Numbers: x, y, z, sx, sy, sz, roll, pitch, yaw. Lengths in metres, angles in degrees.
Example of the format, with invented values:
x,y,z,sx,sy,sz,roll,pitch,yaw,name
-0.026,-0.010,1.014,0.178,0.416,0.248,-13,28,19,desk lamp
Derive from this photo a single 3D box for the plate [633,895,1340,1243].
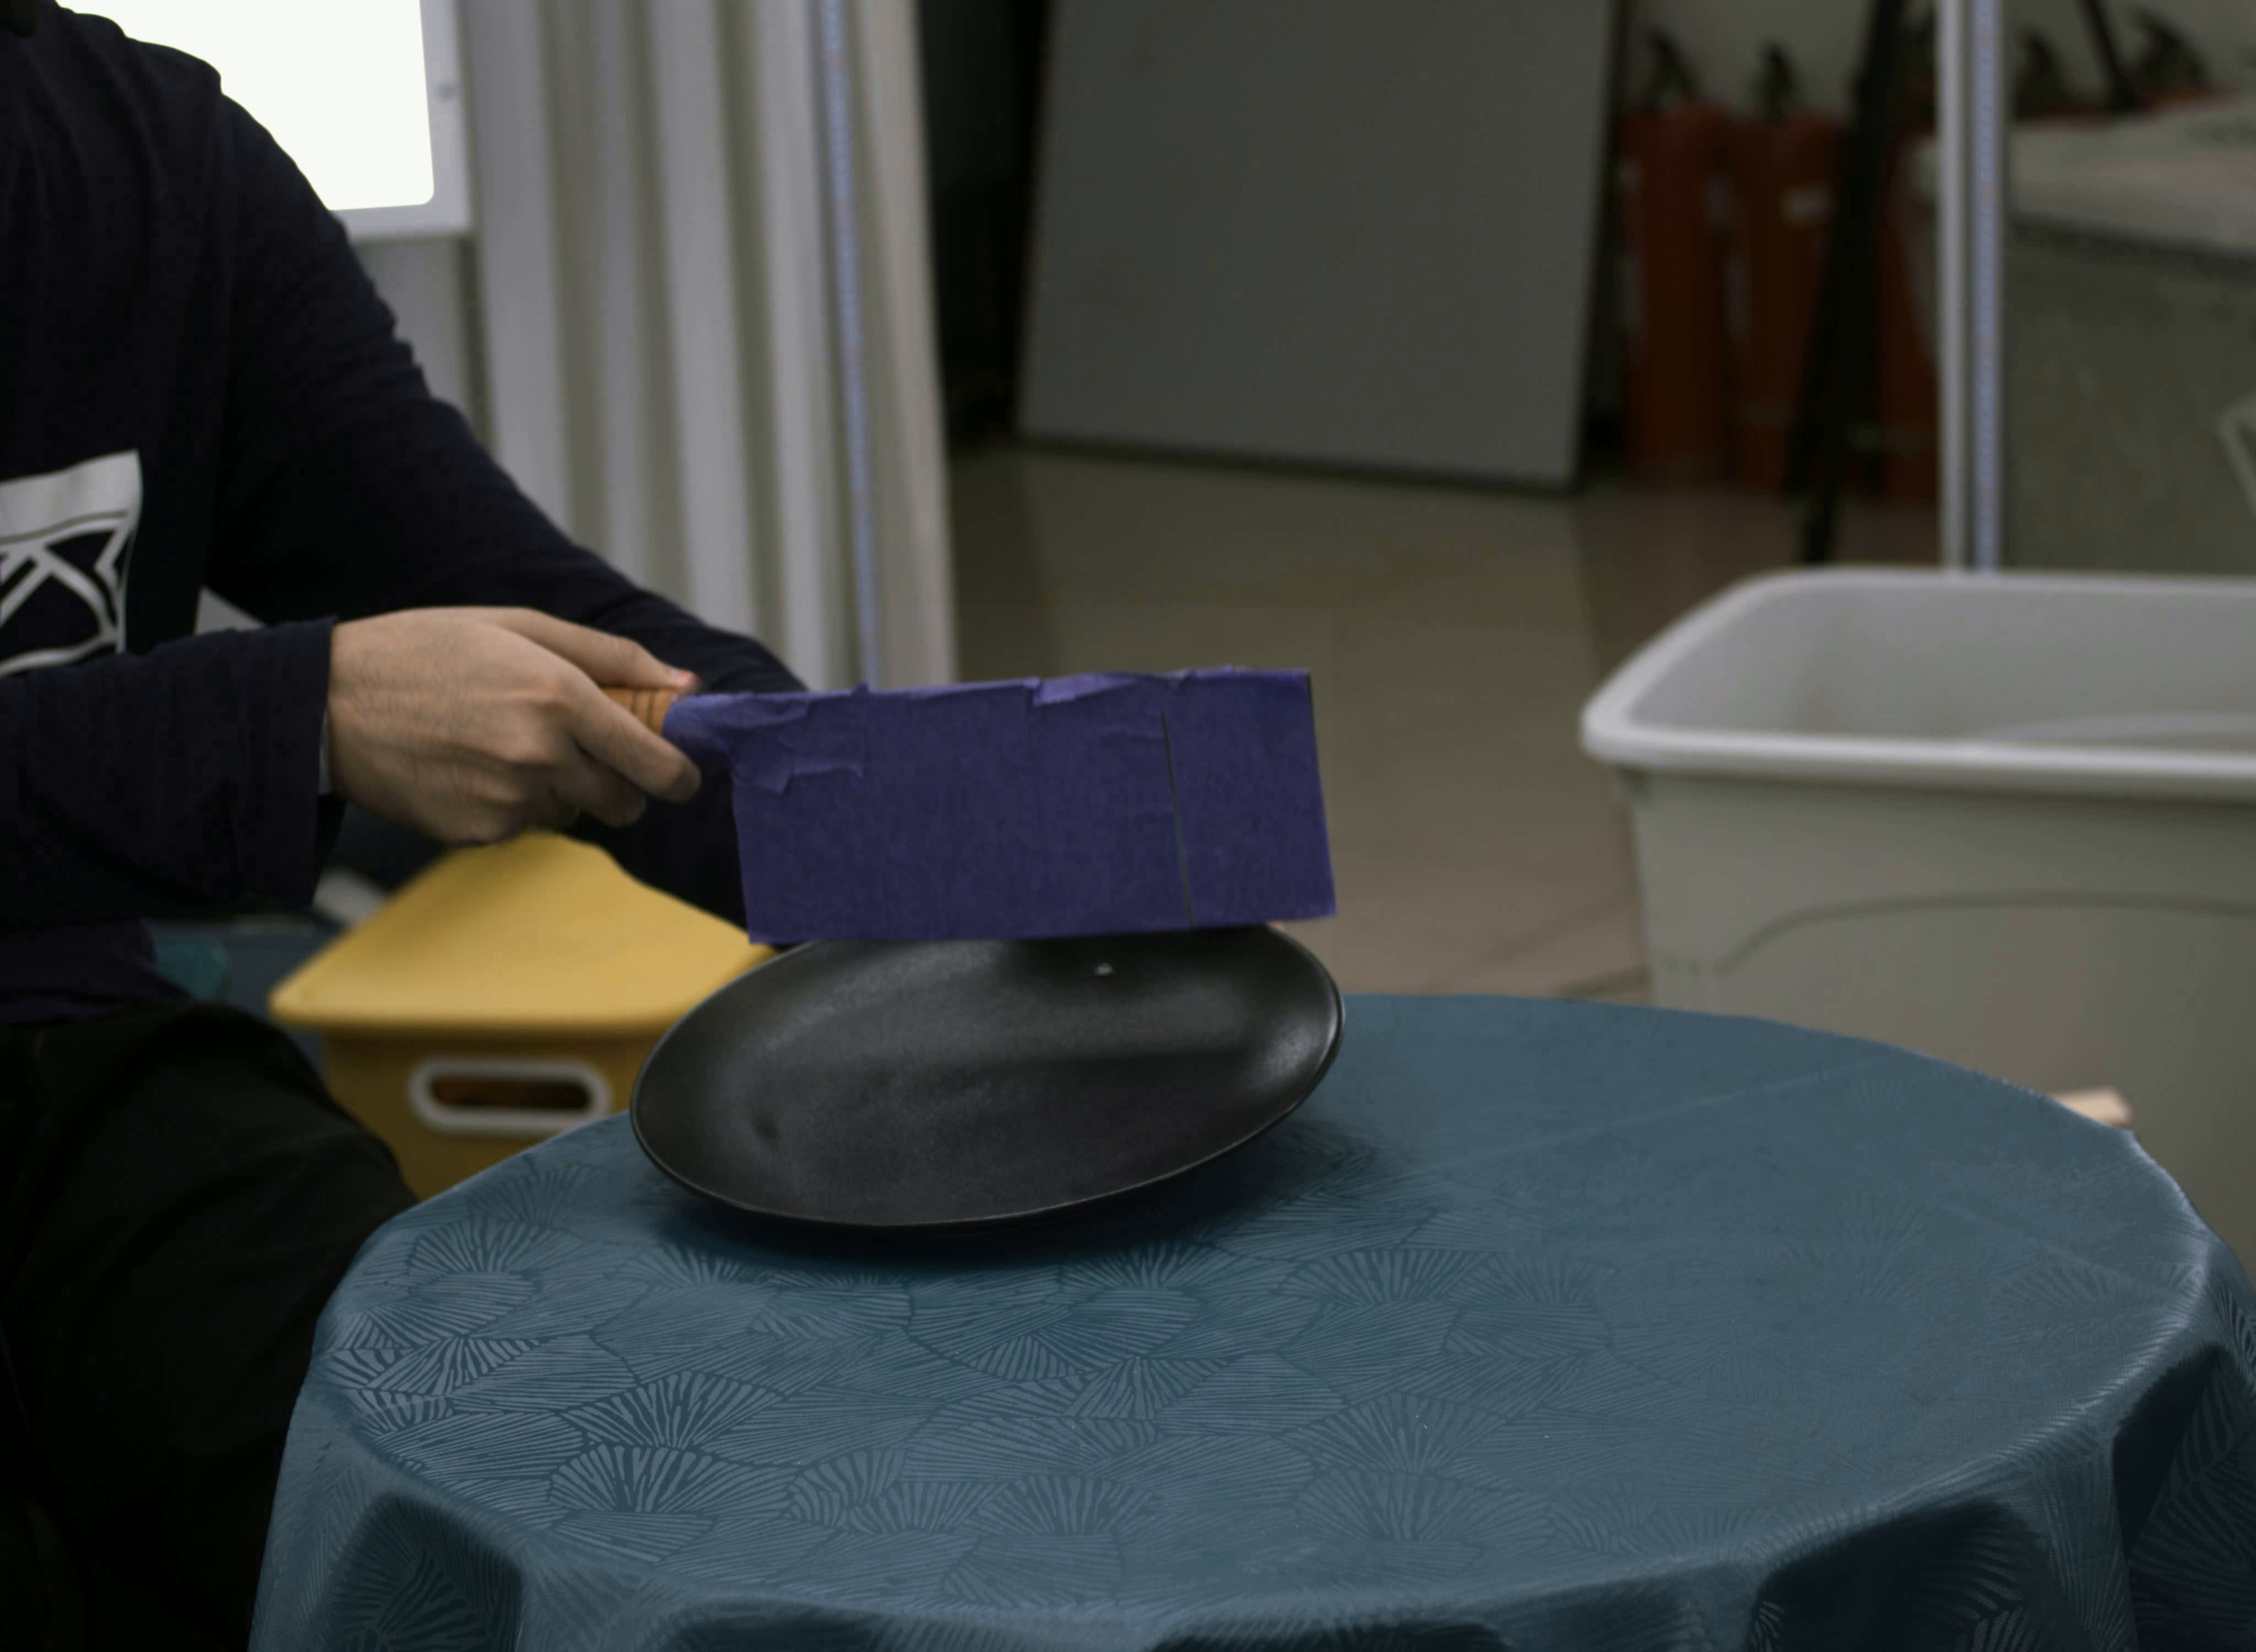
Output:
x,y,z,sx,sy,sz,roll,pitch,yaw,name
-0.046,0.084,1.815,0.242,0.023,0.245,-9,25,3,plate

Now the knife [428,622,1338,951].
x,y,z,sx,sy,sz,roll,pitch,yaw,name
-0.085,-0.006,1.844,0.314,0.105,0.032,-4,12,15,knife
